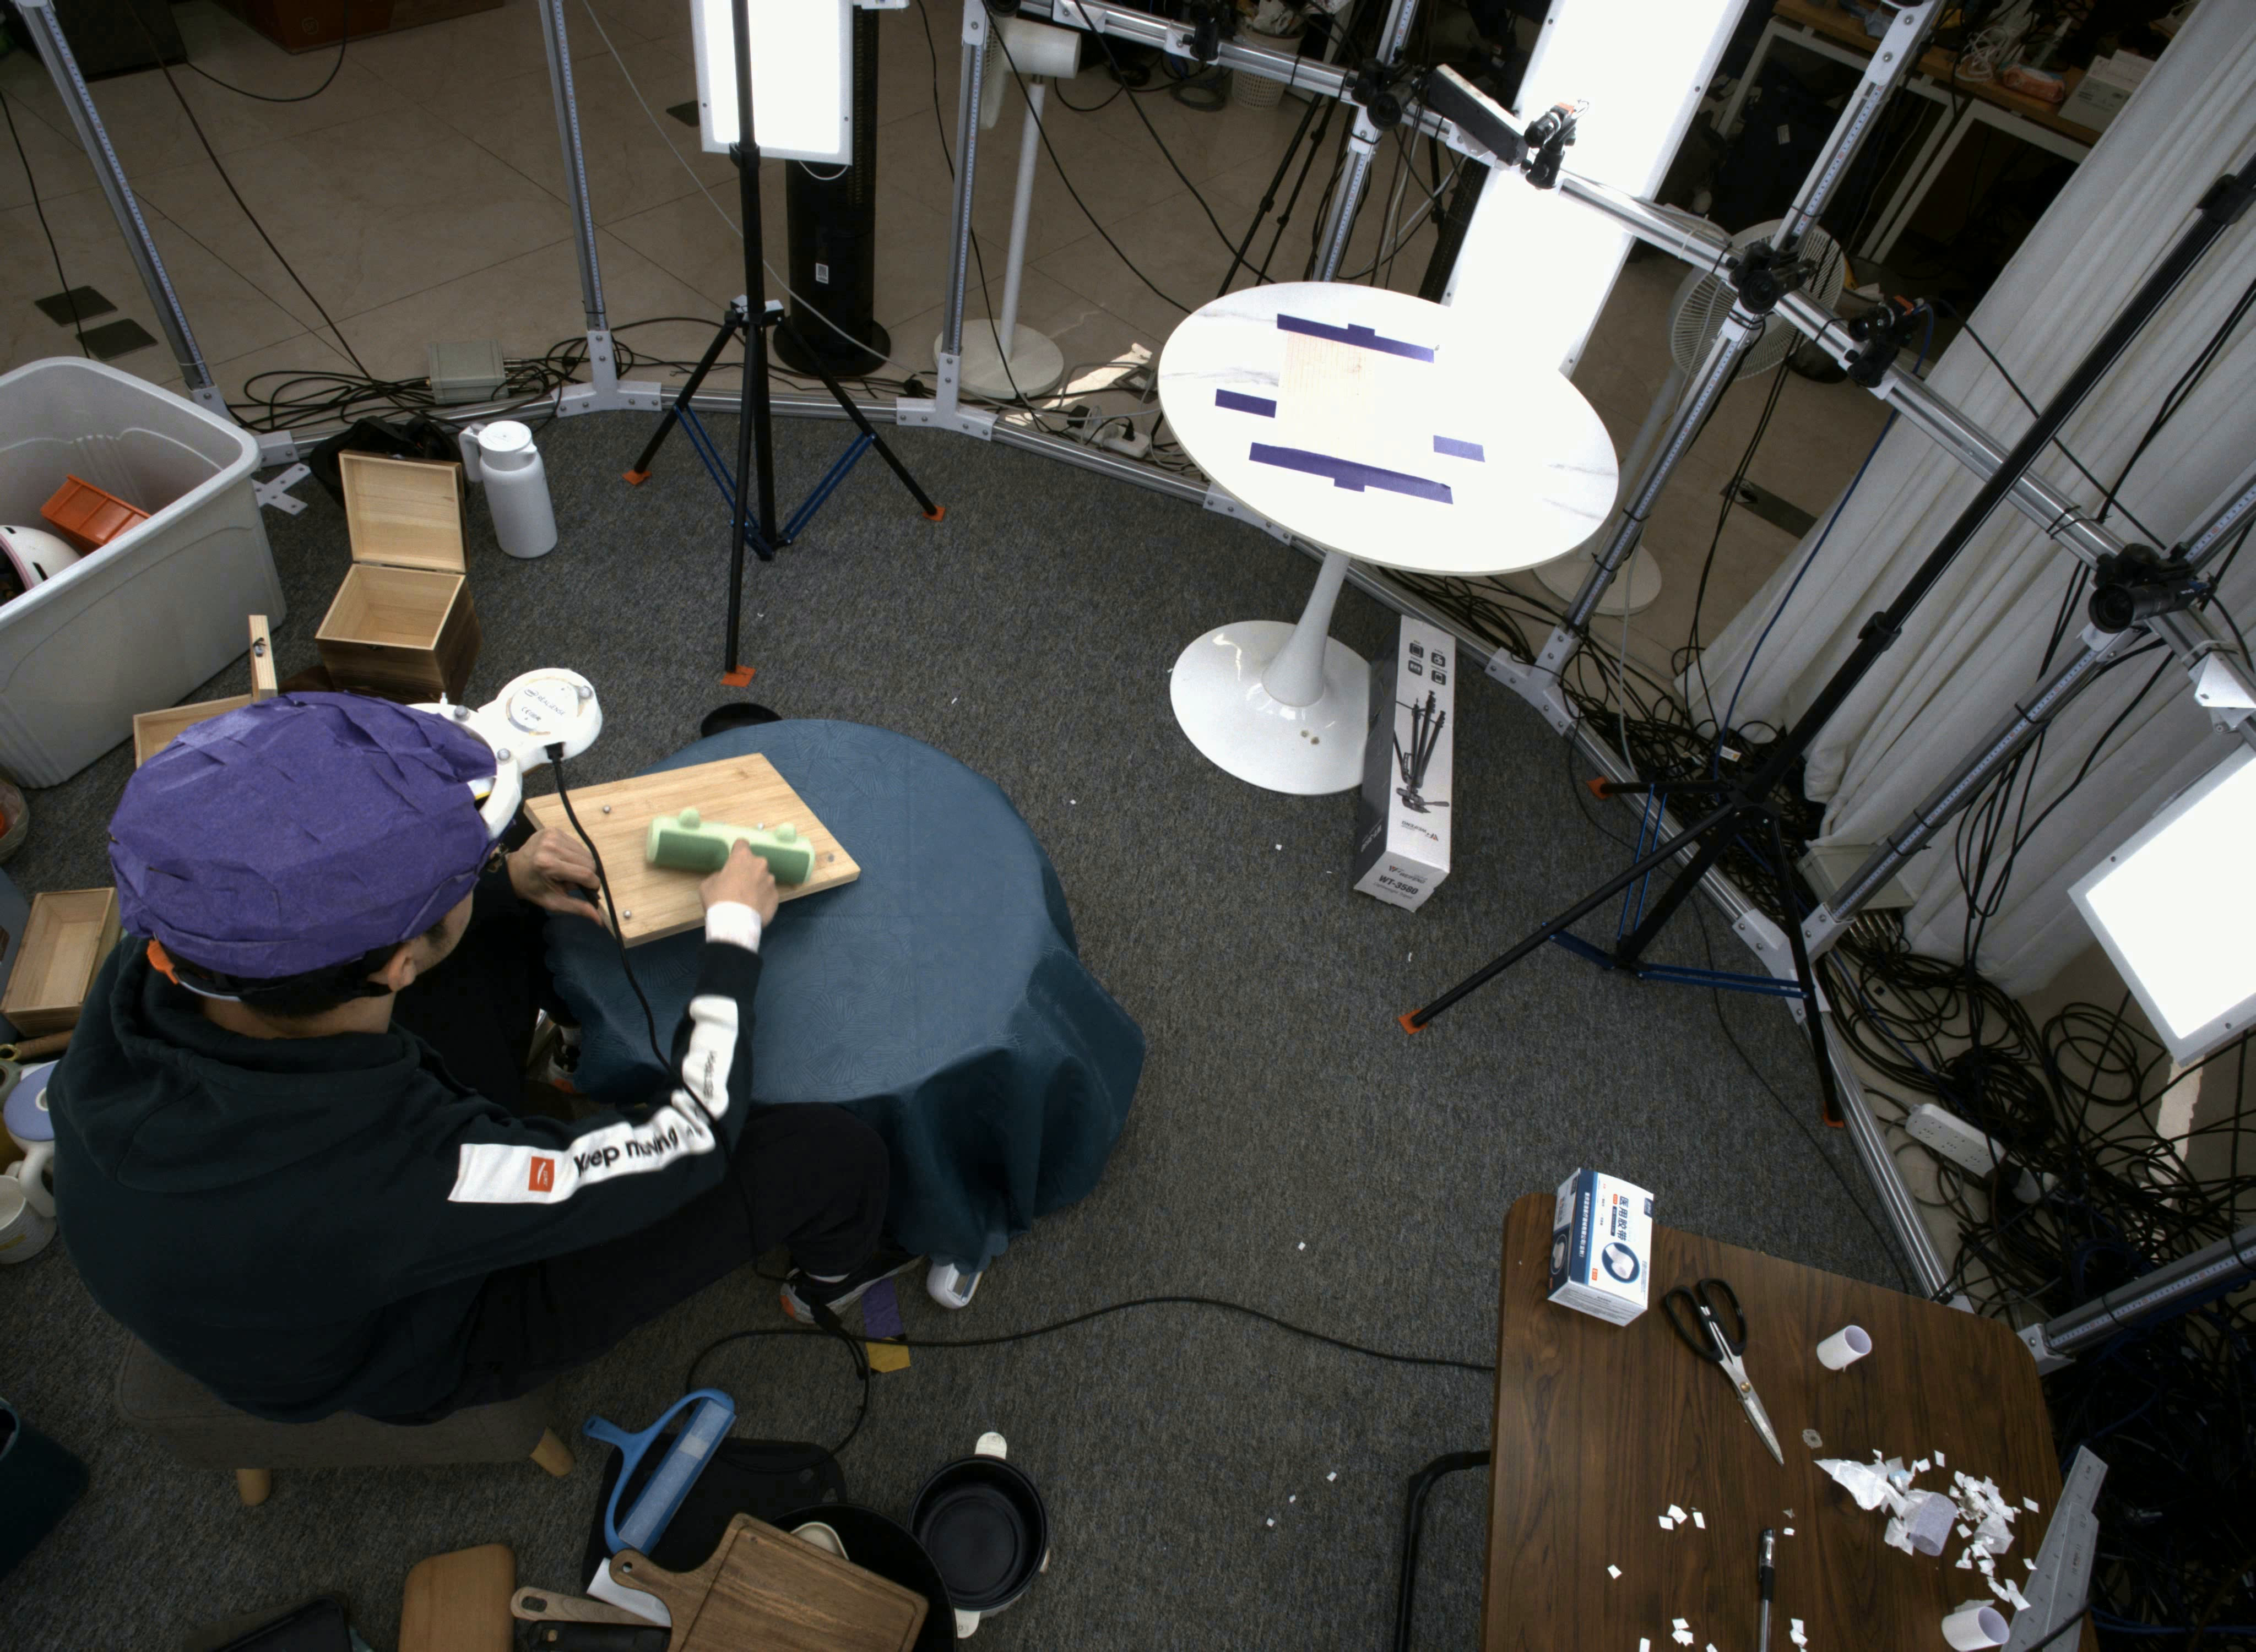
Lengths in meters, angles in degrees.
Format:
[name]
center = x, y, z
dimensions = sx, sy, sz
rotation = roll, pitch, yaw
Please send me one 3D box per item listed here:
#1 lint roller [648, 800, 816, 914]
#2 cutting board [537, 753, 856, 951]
[lint roller]
center = -0.459, 0.032, 1.523
dimensions = 0.202, 0.083, 0.177
rotation = 11, 16, -28
[cutting board]
center = -0.538, 0.019, 1.597
dimensions = 0.245, 0.024, 0.352
rotation = 45, 35, 19
